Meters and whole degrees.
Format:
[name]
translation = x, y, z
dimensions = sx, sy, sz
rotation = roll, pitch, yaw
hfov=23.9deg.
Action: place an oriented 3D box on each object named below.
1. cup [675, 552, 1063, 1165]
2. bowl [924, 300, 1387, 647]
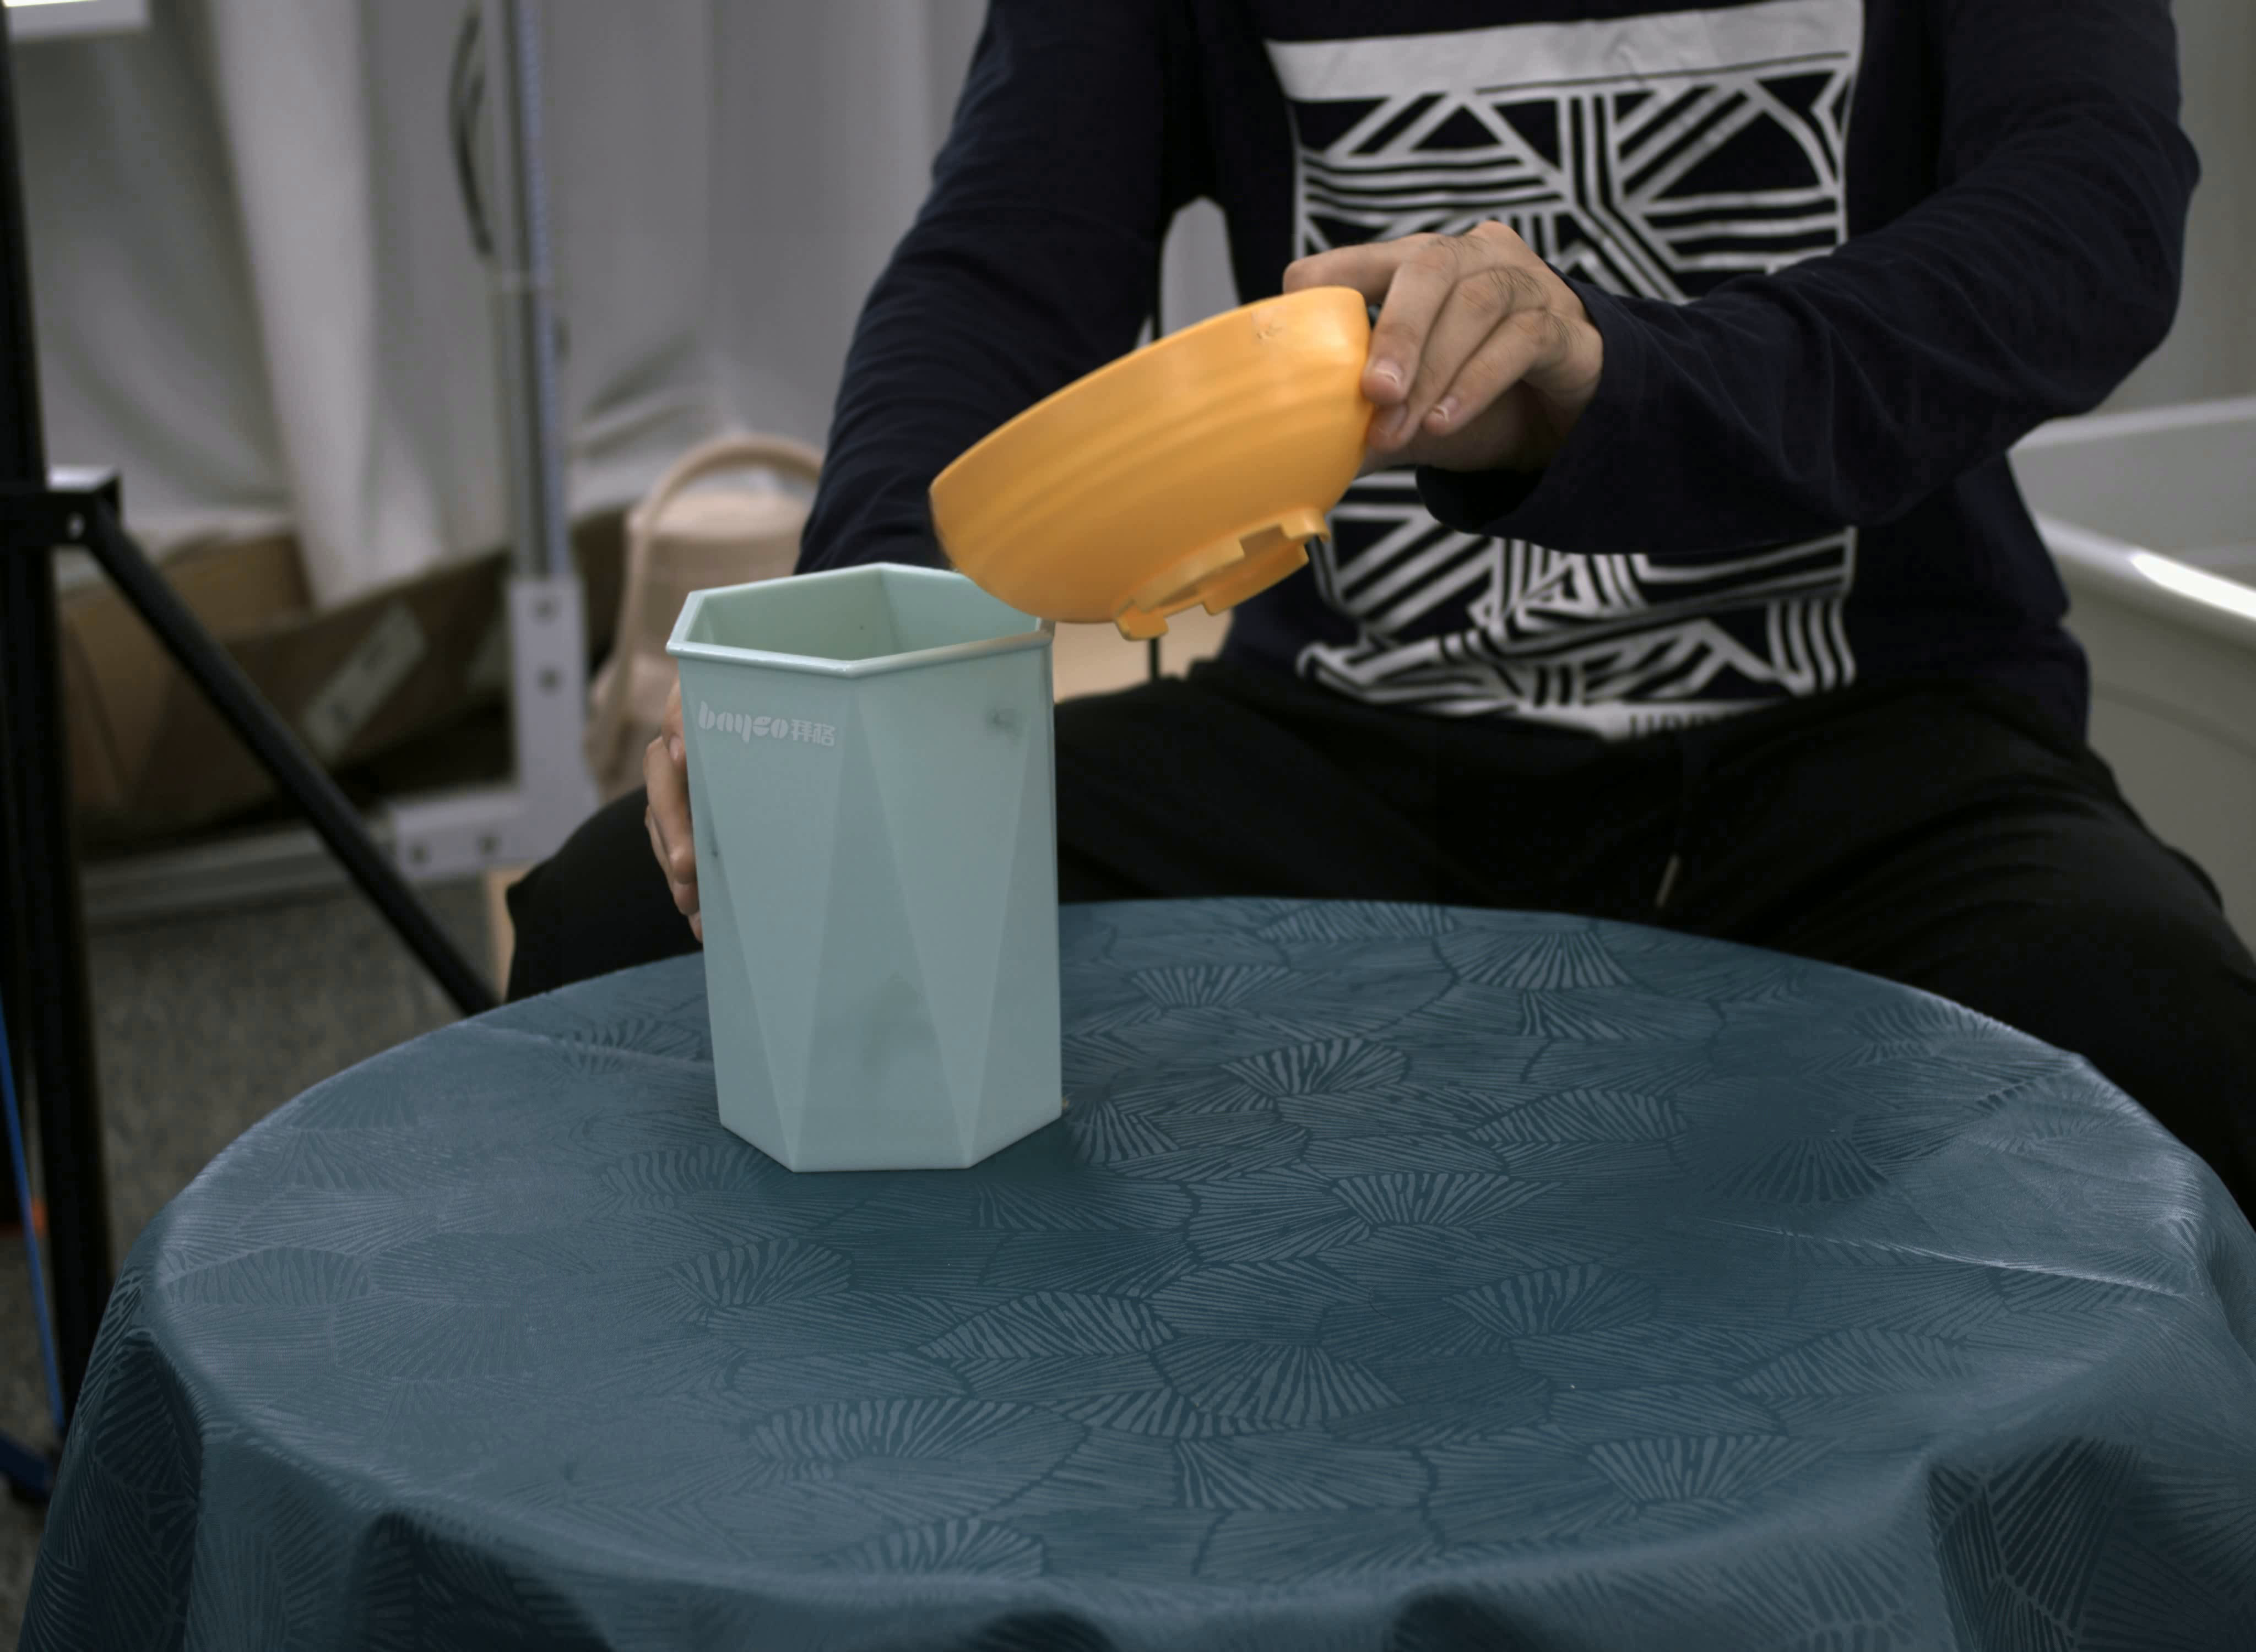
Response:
[cup]
translation = -0.074, 0.011, 1.610
dimensions = 0.133, 0.163, 0.113
rotation = 8, 17, 31
[bowl]
translation = 0.018, -0.092, 1.524
dimensions = 0.144, 0.060, 0.145
rotation = -24, -6, -5
